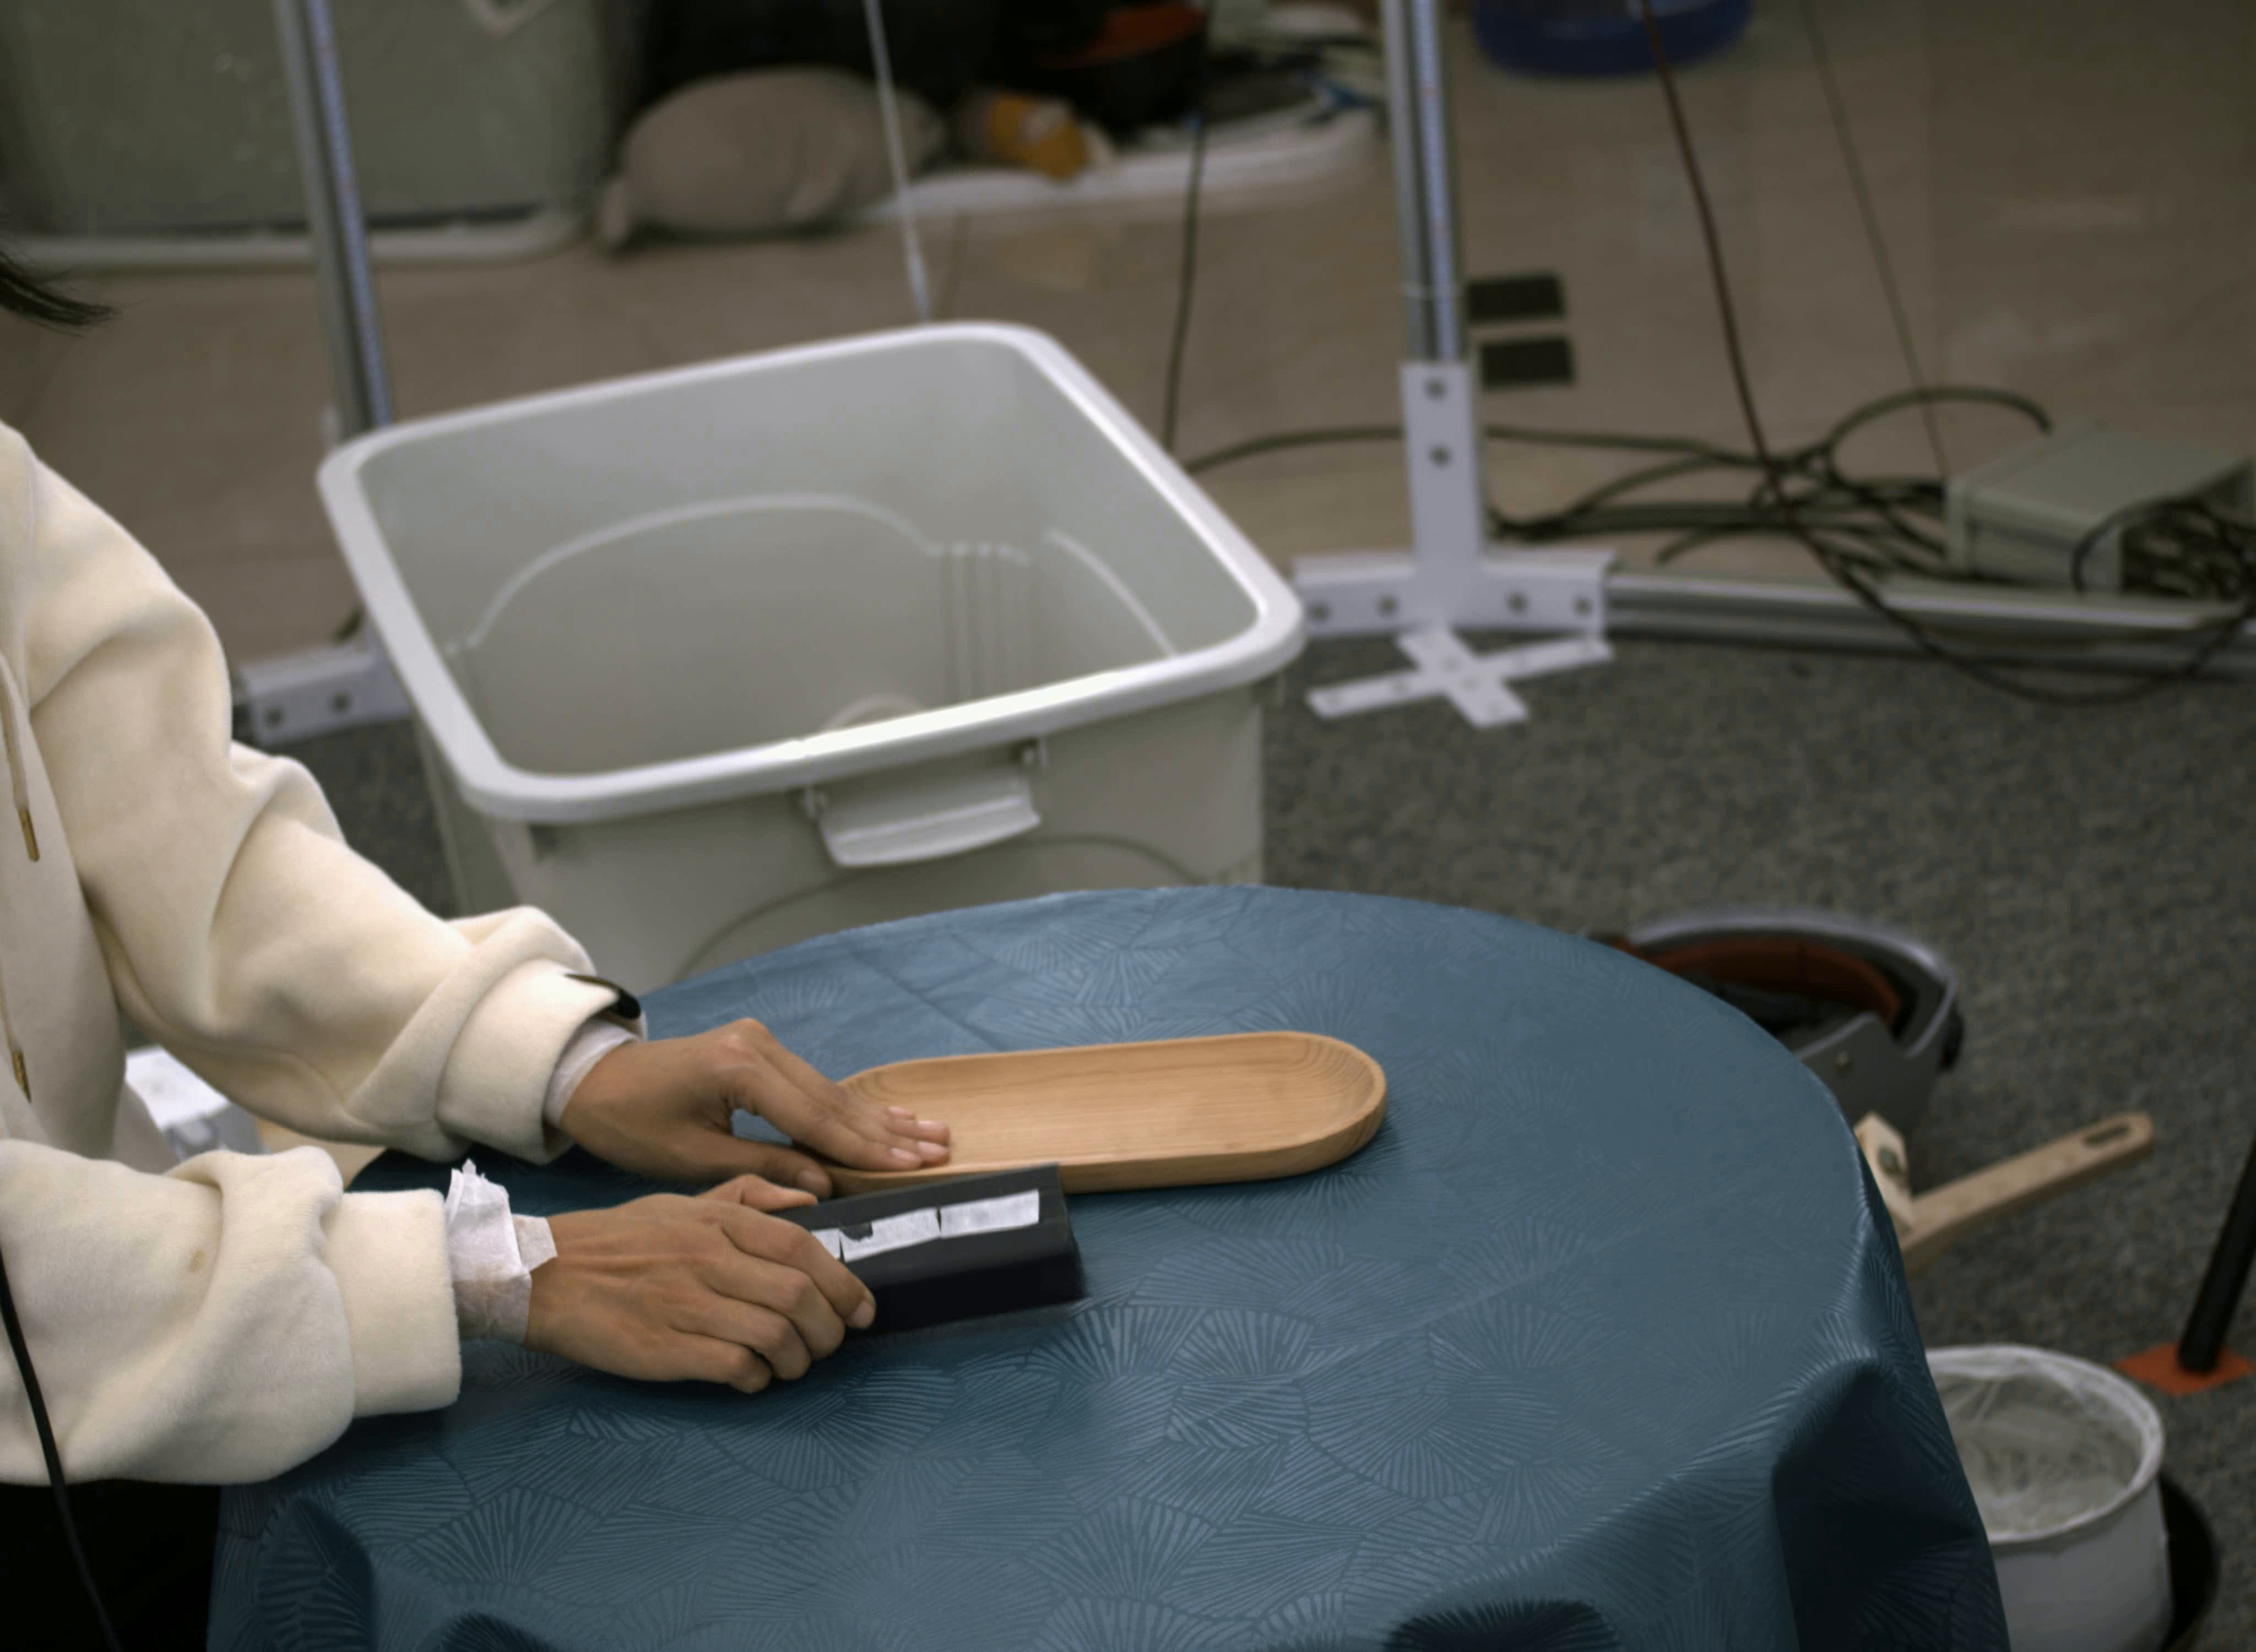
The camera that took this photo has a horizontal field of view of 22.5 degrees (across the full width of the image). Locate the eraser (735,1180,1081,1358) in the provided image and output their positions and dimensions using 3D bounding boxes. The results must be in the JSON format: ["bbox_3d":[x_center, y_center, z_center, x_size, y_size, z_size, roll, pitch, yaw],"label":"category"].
[{"bbox_3d":[-0.079,0.160,2.067,0.125,0.031,0.052,-9,33,0],"label":"eraser"}]

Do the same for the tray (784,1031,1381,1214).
[{"bbox_3d":[-0.017,0.115,2.185,0.231,0.020,0.100,-7,24,4],"label":"tray"}]
